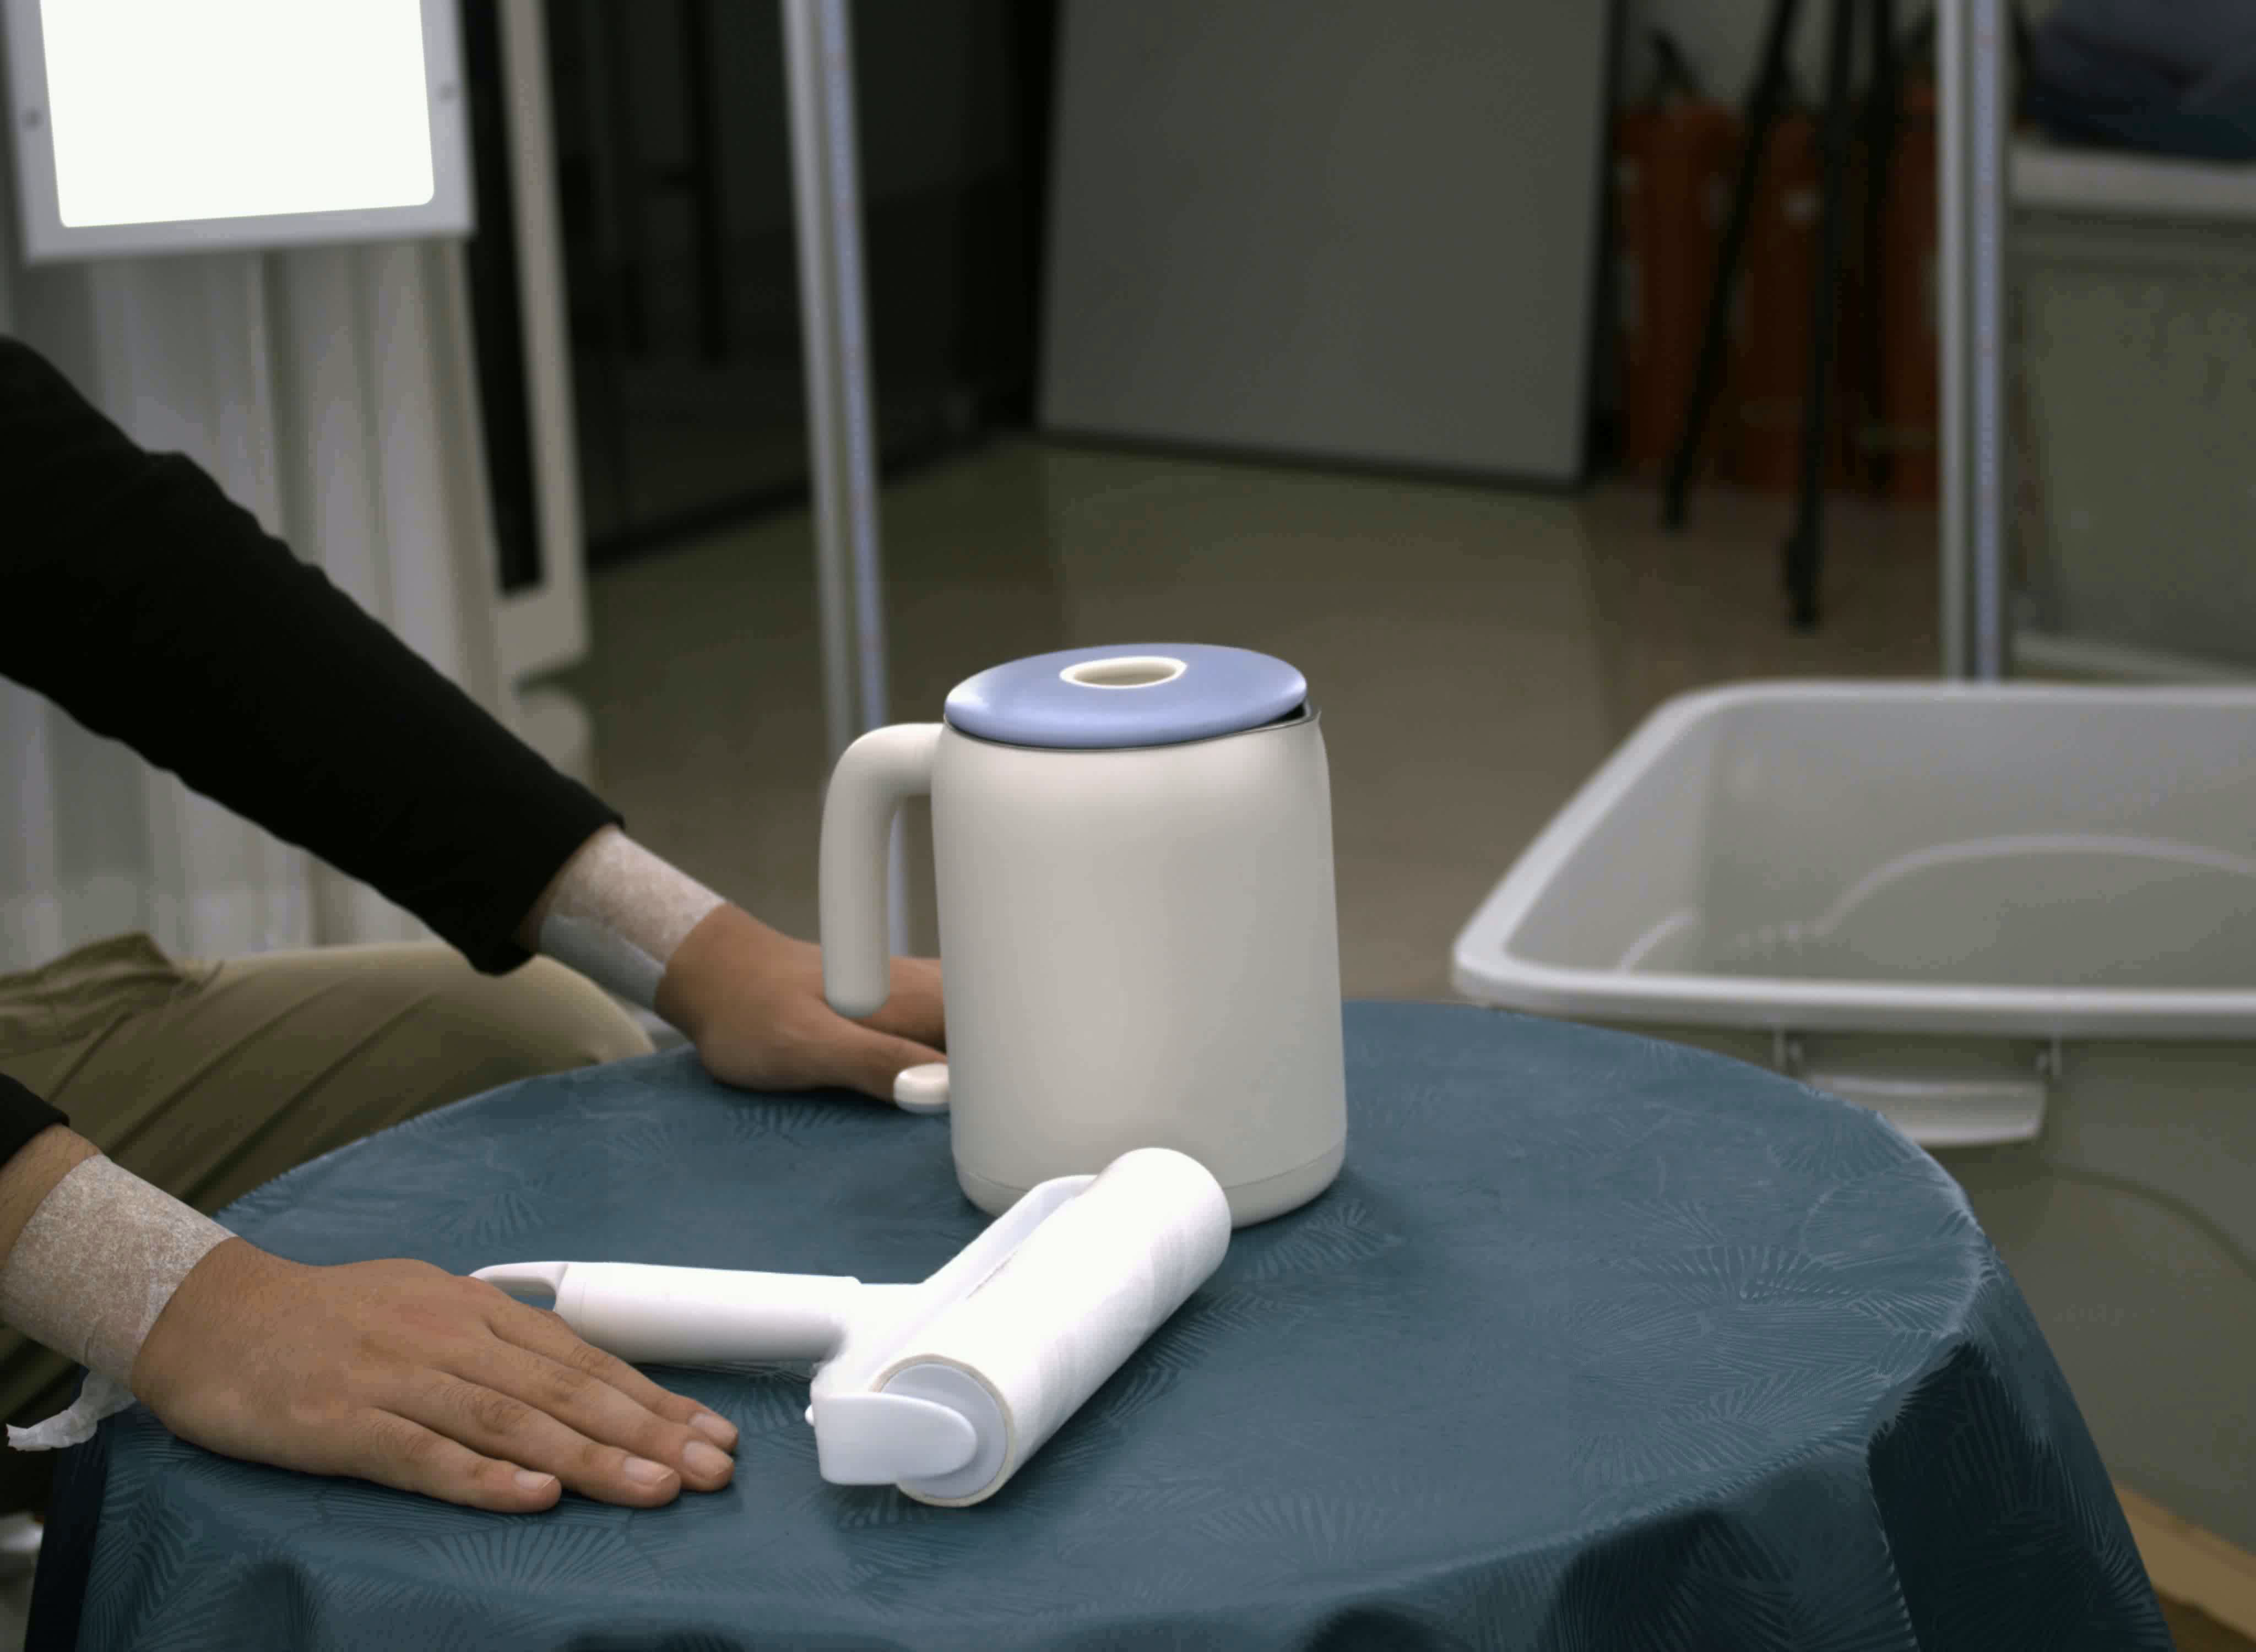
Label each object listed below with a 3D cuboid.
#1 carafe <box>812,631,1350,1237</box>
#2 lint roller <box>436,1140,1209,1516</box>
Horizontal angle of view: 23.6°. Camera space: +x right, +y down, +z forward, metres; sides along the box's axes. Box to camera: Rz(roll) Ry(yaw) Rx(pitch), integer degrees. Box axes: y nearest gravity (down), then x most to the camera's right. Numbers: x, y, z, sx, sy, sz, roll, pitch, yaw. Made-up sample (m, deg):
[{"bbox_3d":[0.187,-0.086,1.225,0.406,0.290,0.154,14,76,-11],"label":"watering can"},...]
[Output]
[{"bbox_3d":[-0.018,0.035,1.765,0.191,0.184,0.130,0,13,27],"label":"carafe"},{"bbox_3d":[-0.106,0.145,1.615,0.225,0.049,0.201,0,16,21],"label":"lint roller"}]
